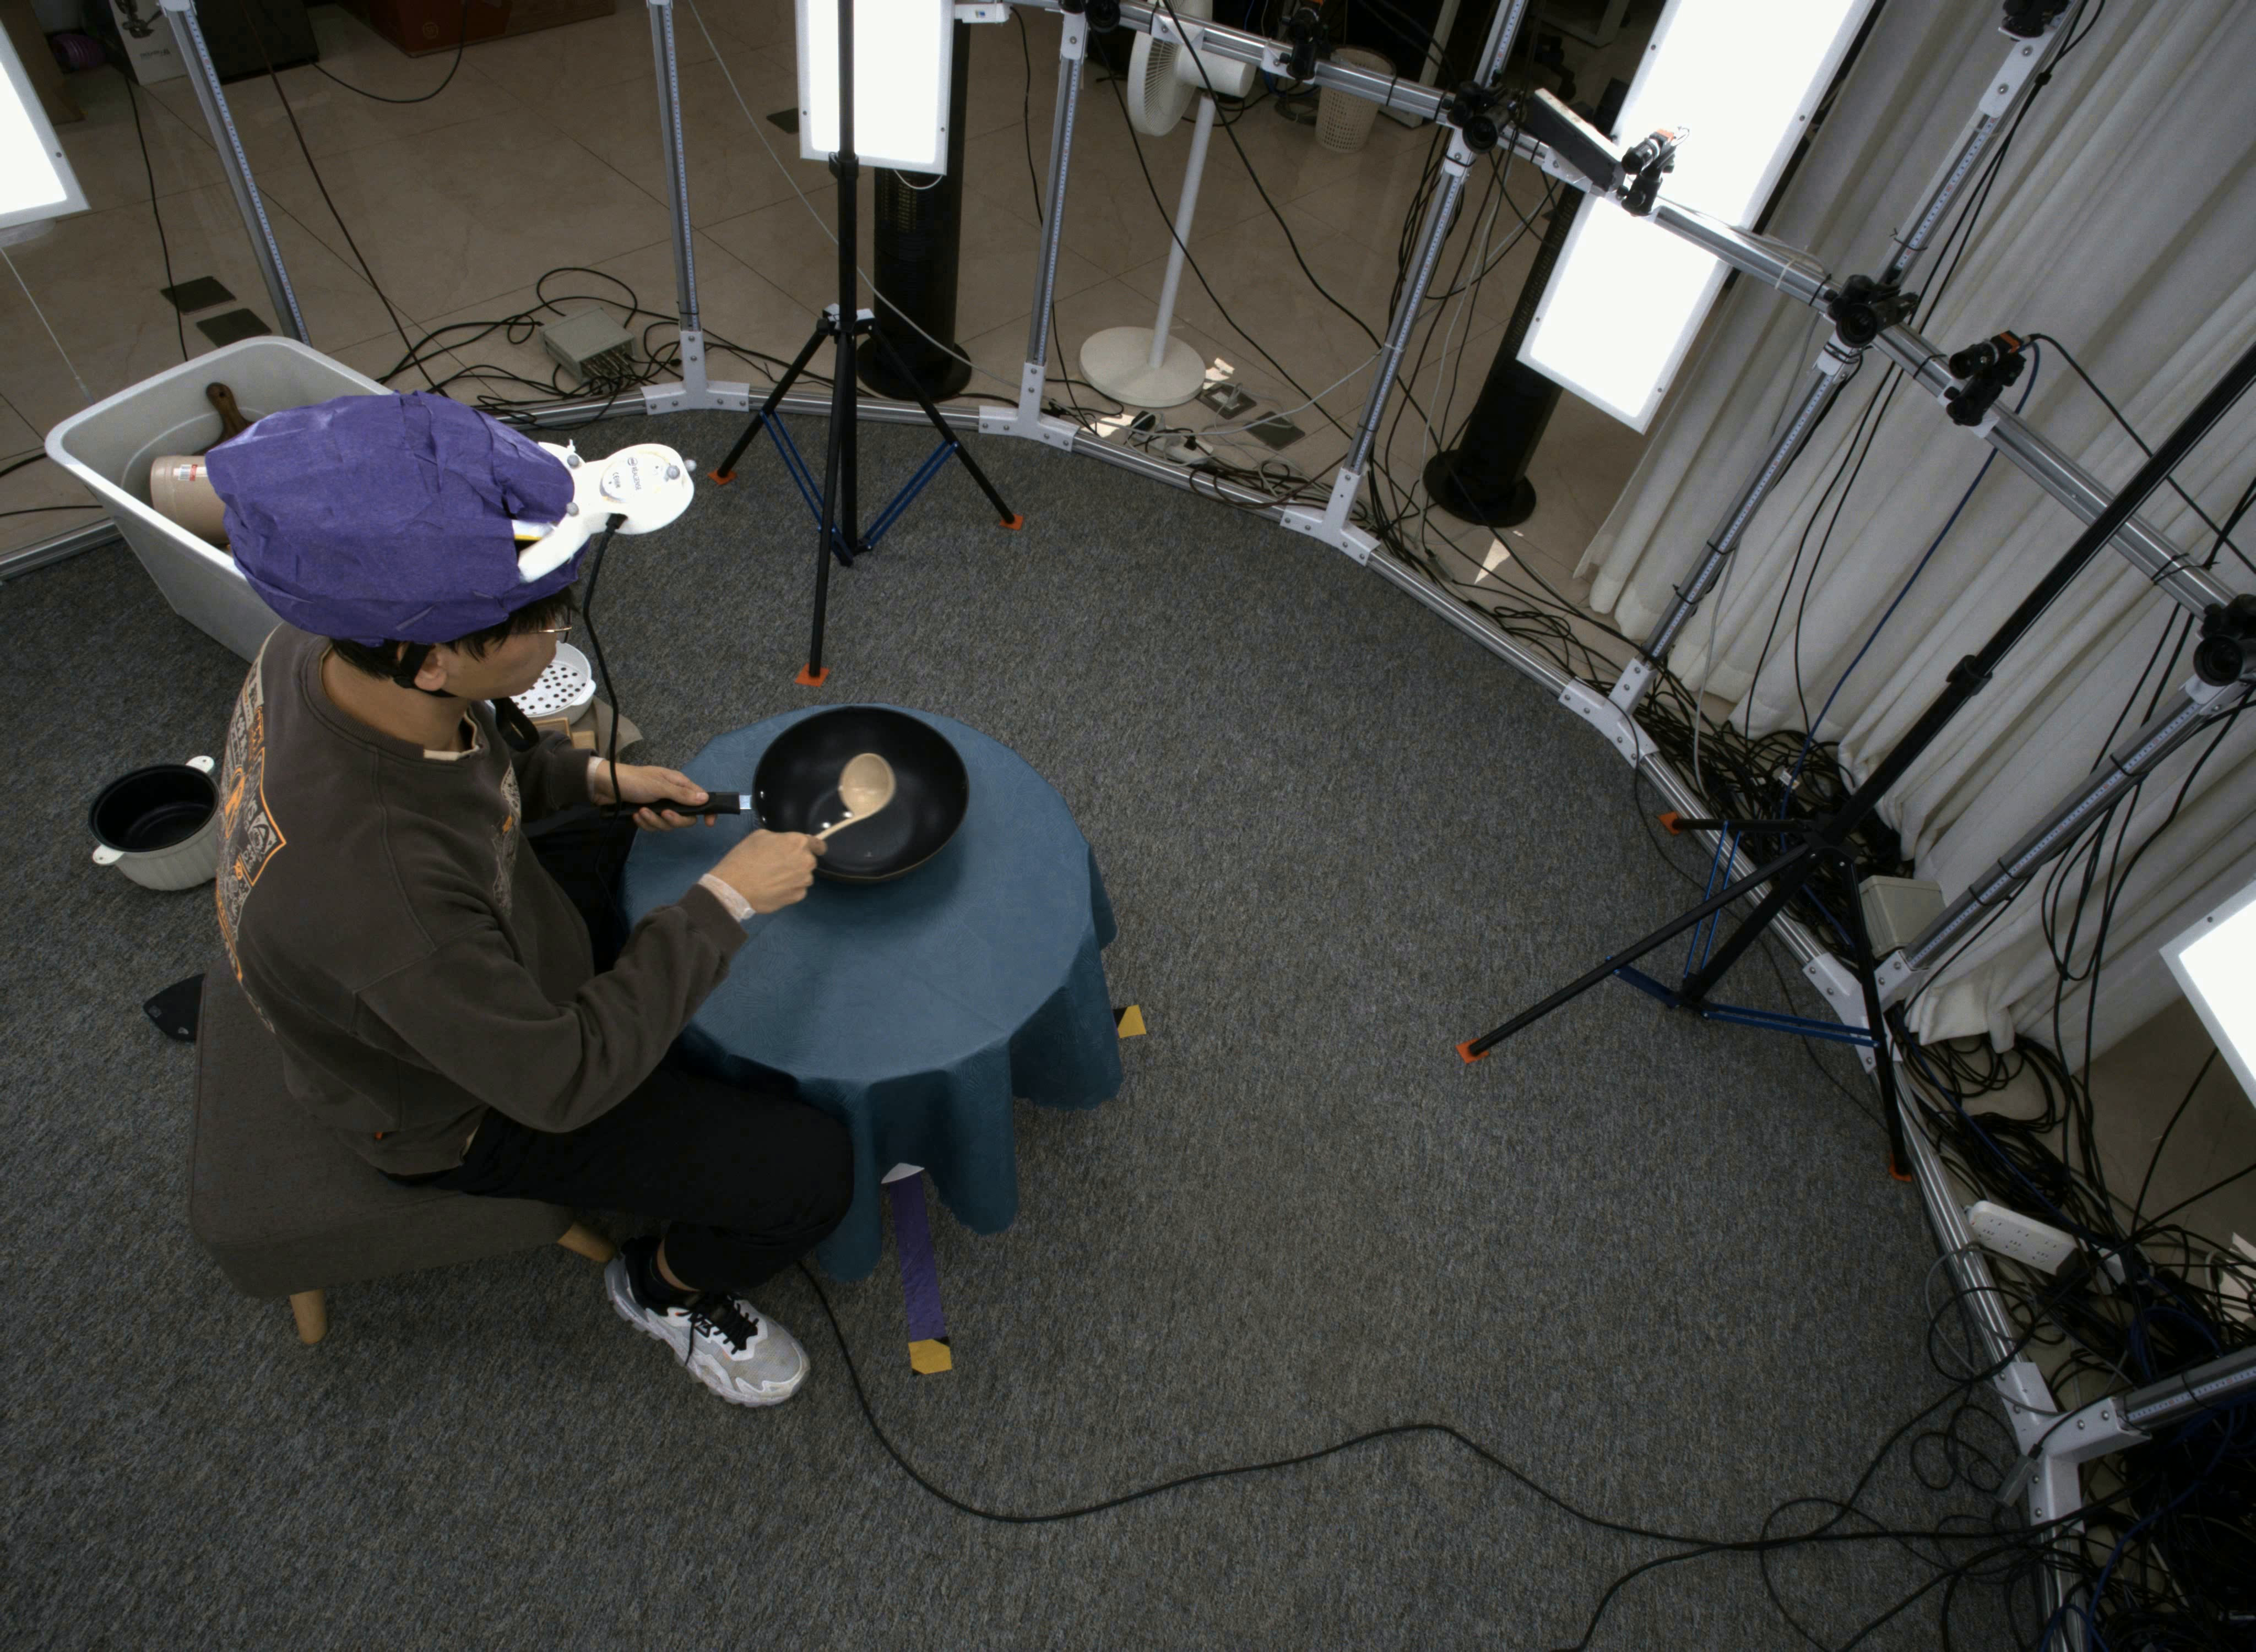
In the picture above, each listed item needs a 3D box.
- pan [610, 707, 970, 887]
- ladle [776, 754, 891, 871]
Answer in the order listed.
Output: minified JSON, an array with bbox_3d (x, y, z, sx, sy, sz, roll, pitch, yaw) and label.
[{"bbox_3d":[-0.437,-0.017,1.696,0.464,0.089,0.281,-6,56,-15],"label":"pan"},{"bbox_3d":[-0.356,-0.024,1.536,0.070,0.075,0.253,2,17,14],"label":"ladle"}]
